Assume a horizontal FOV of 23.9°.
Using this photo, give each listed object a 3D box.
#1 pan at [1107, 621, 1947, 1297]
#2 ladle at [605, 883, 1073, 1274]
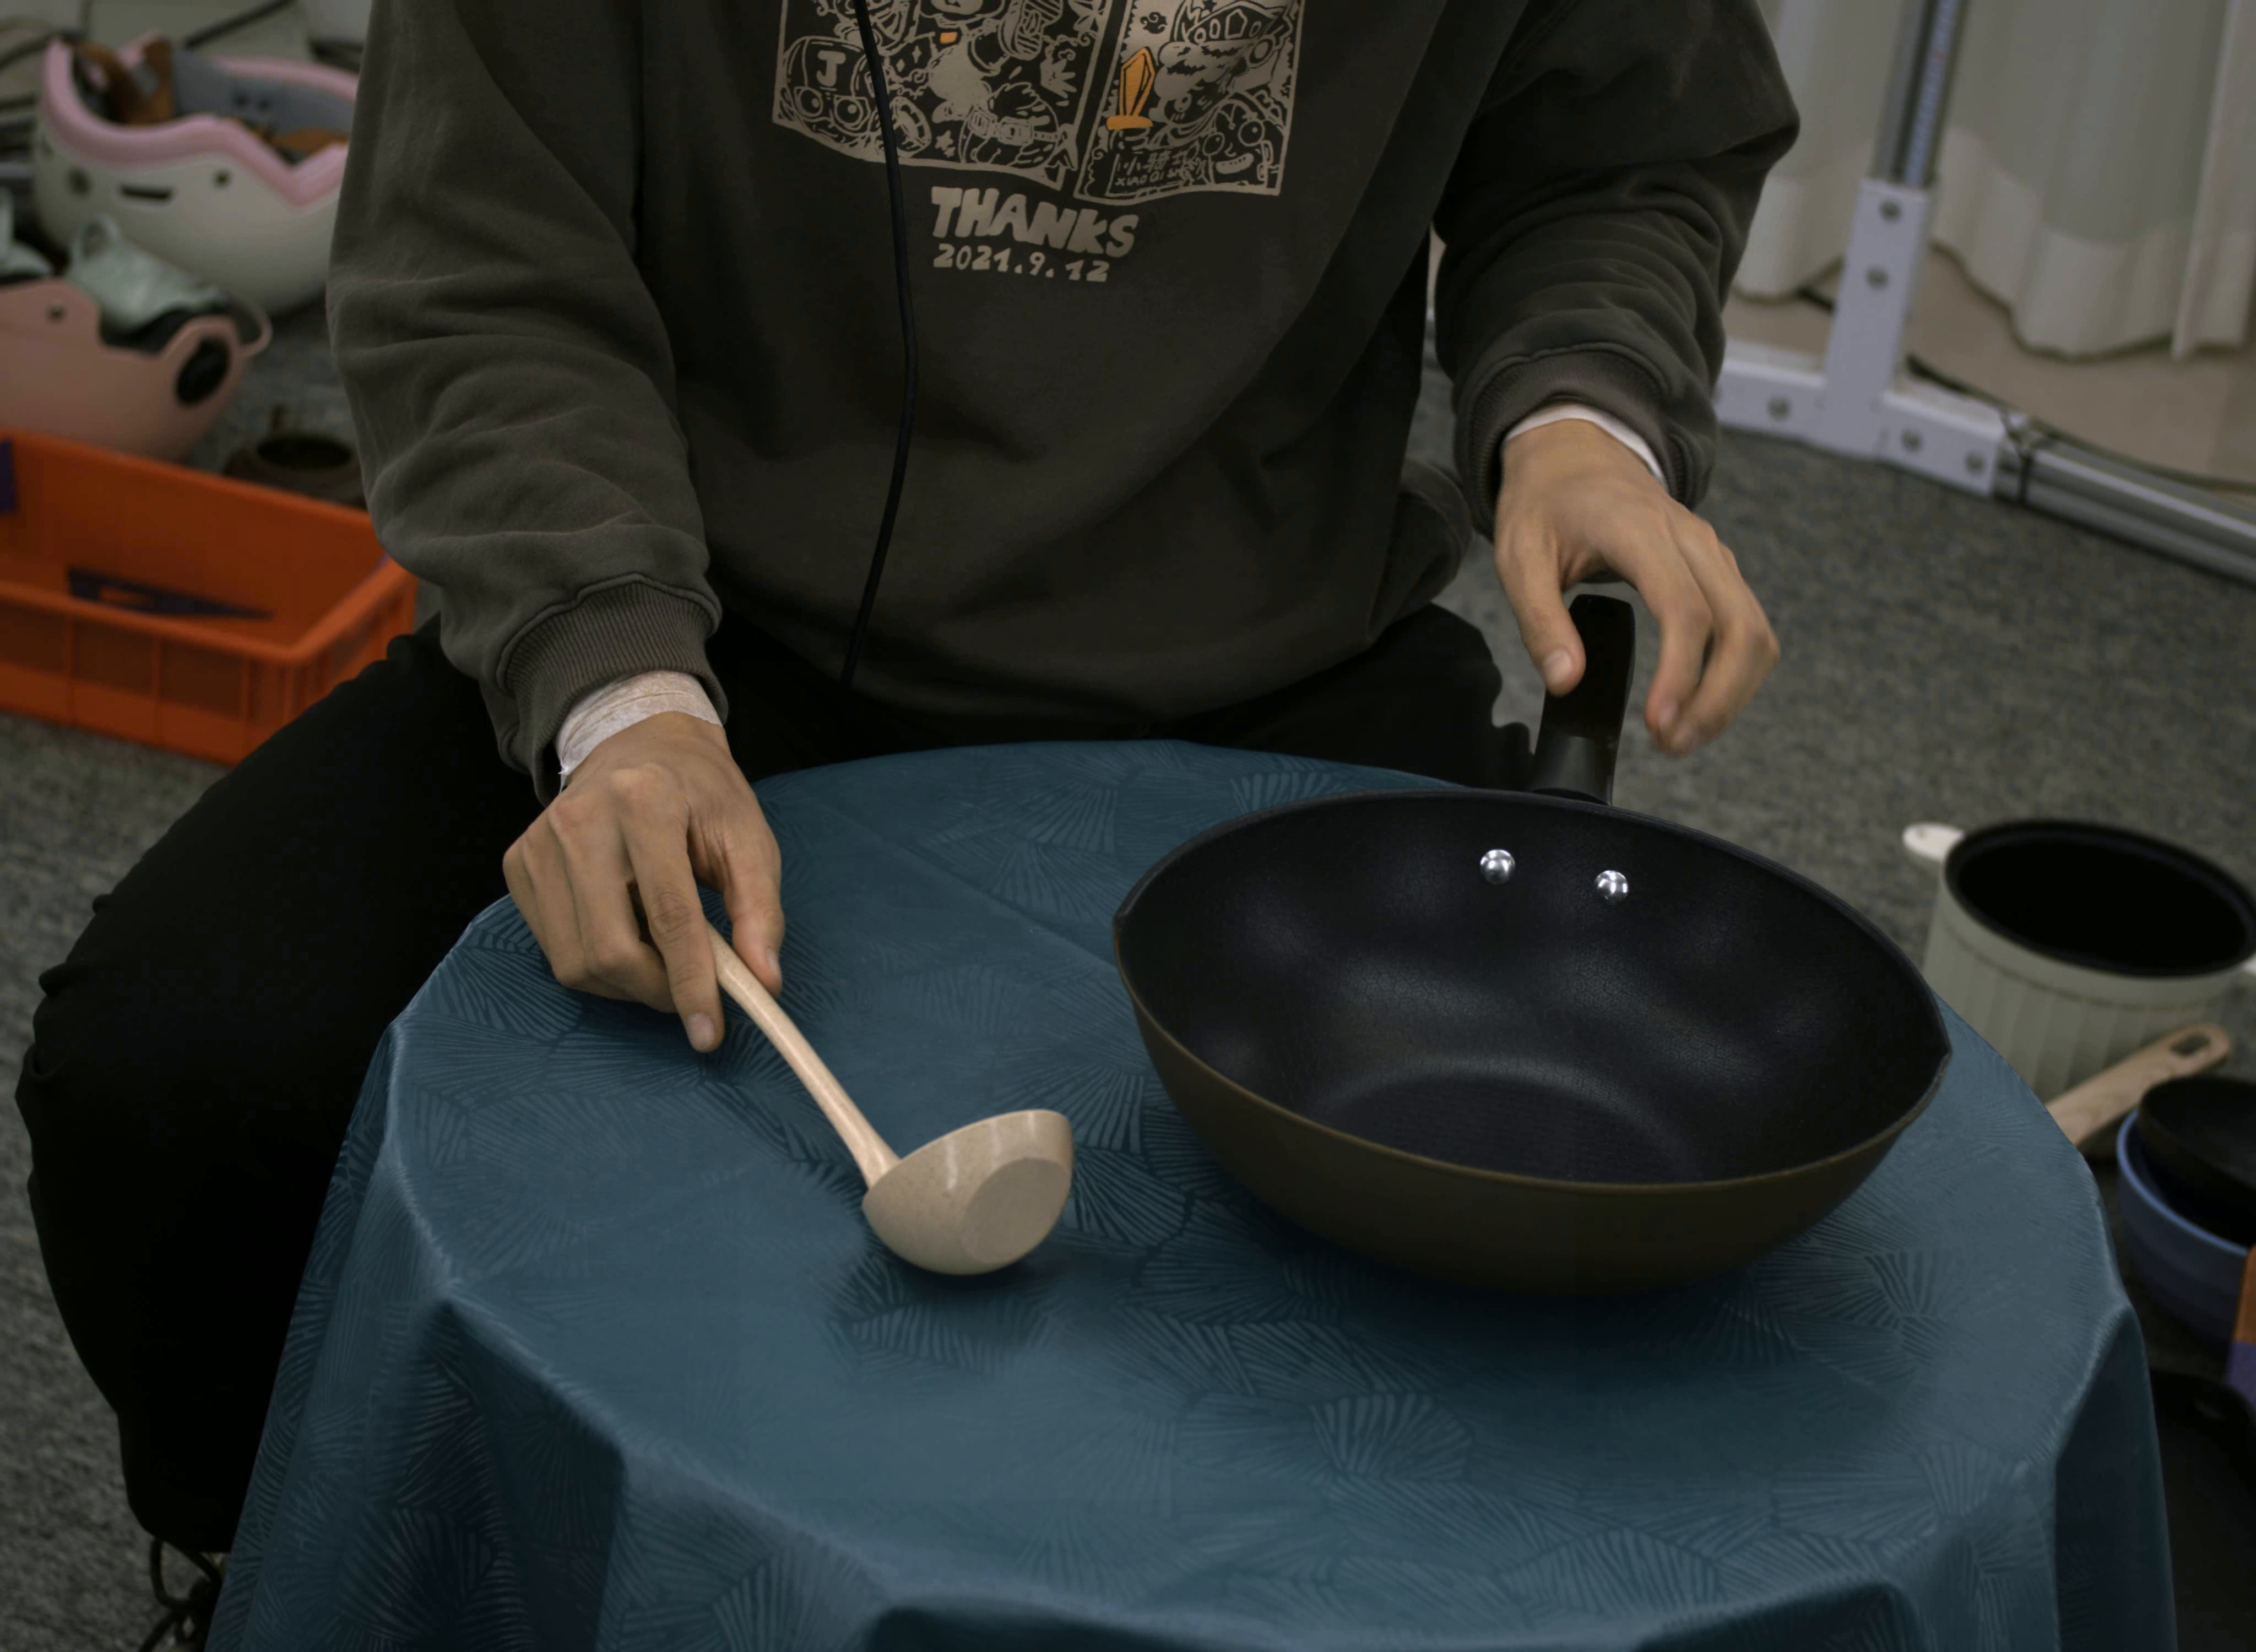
[{"bbox_3d":[0.145,0.047,1.898,0.288,0.086,0.465,9,26,6],"label":"pan"},{"bbox_3d":[-0.106,0.060,1.800,0.071,0.072,0.257,-12,39,-33],"label":"ladle"}]
